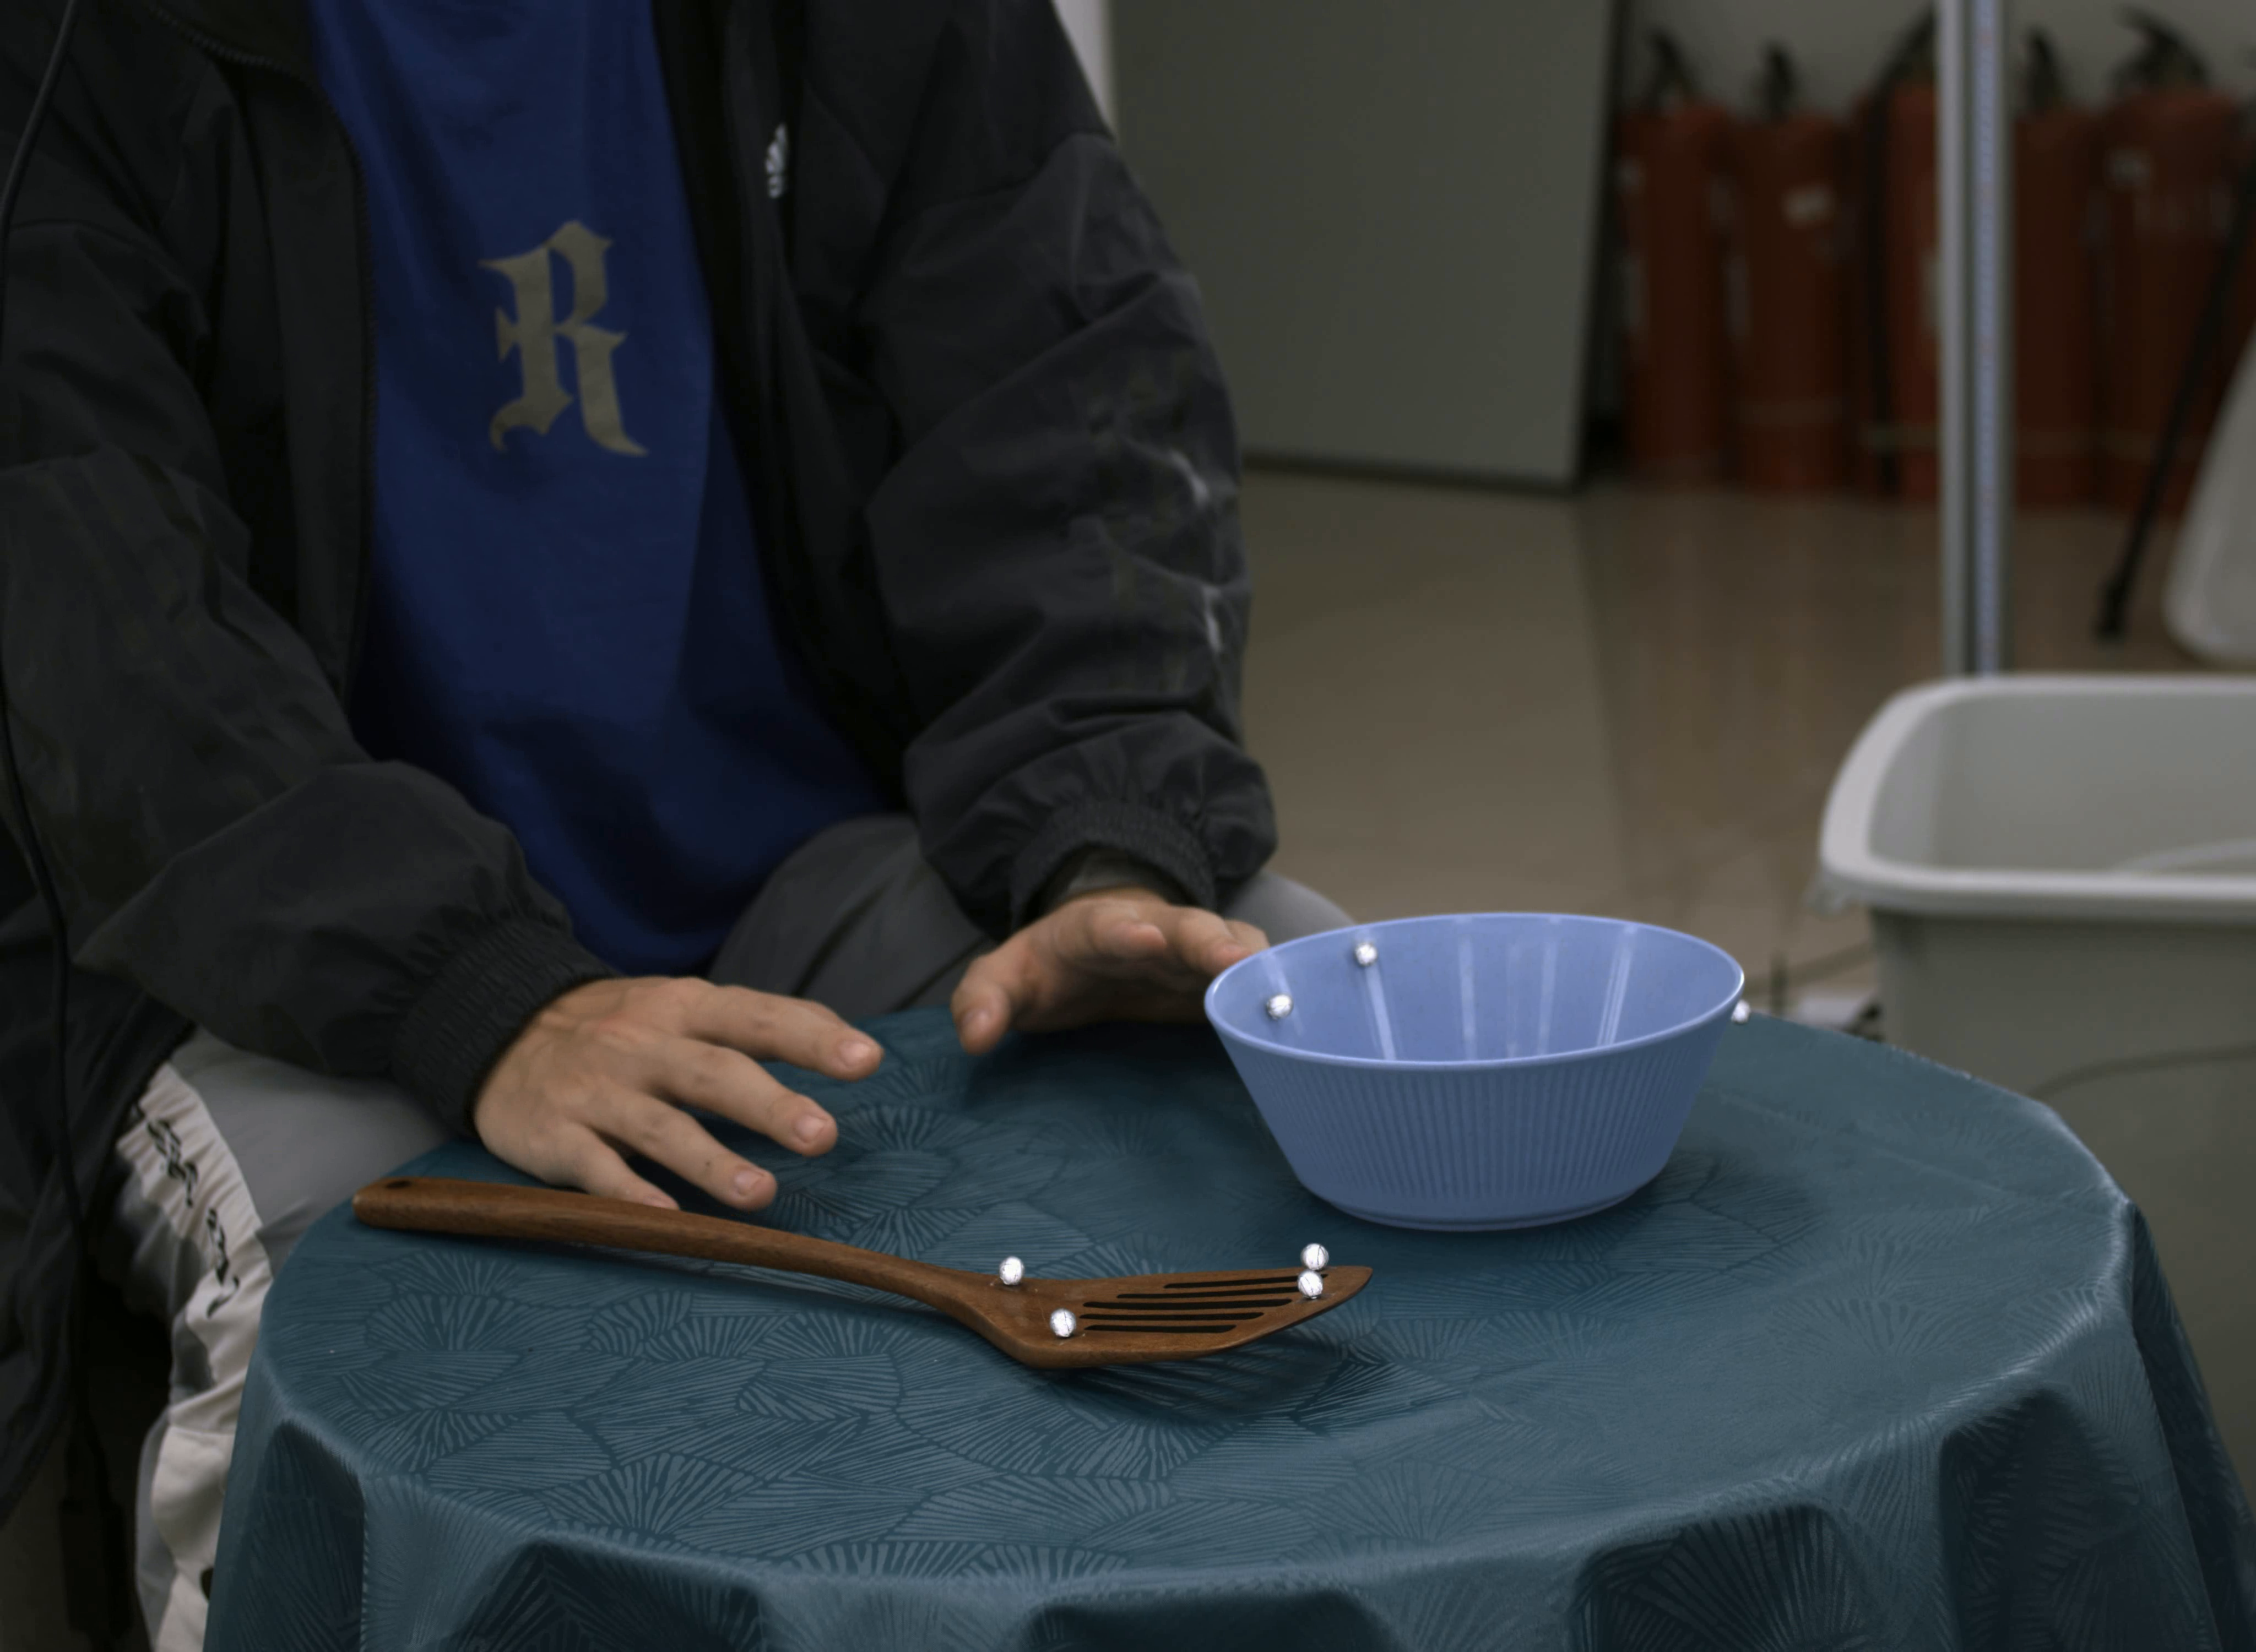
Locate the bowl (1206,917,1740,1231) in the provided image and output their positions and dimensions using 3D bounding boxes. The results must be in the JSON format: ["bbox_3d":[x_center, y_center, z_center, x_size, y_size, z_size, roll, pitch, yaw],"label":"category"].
[{"bbox_3d":[0.114,0.082,1.747,0.174,0.071,0.176,-4,12,0],"label":"bowl"}]

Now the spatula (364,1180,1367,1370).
[{"bbox_3d":[-0.097,0.138,1.688,0.389,0.024,0.084,5,15,37],"label":"spatula"}]
